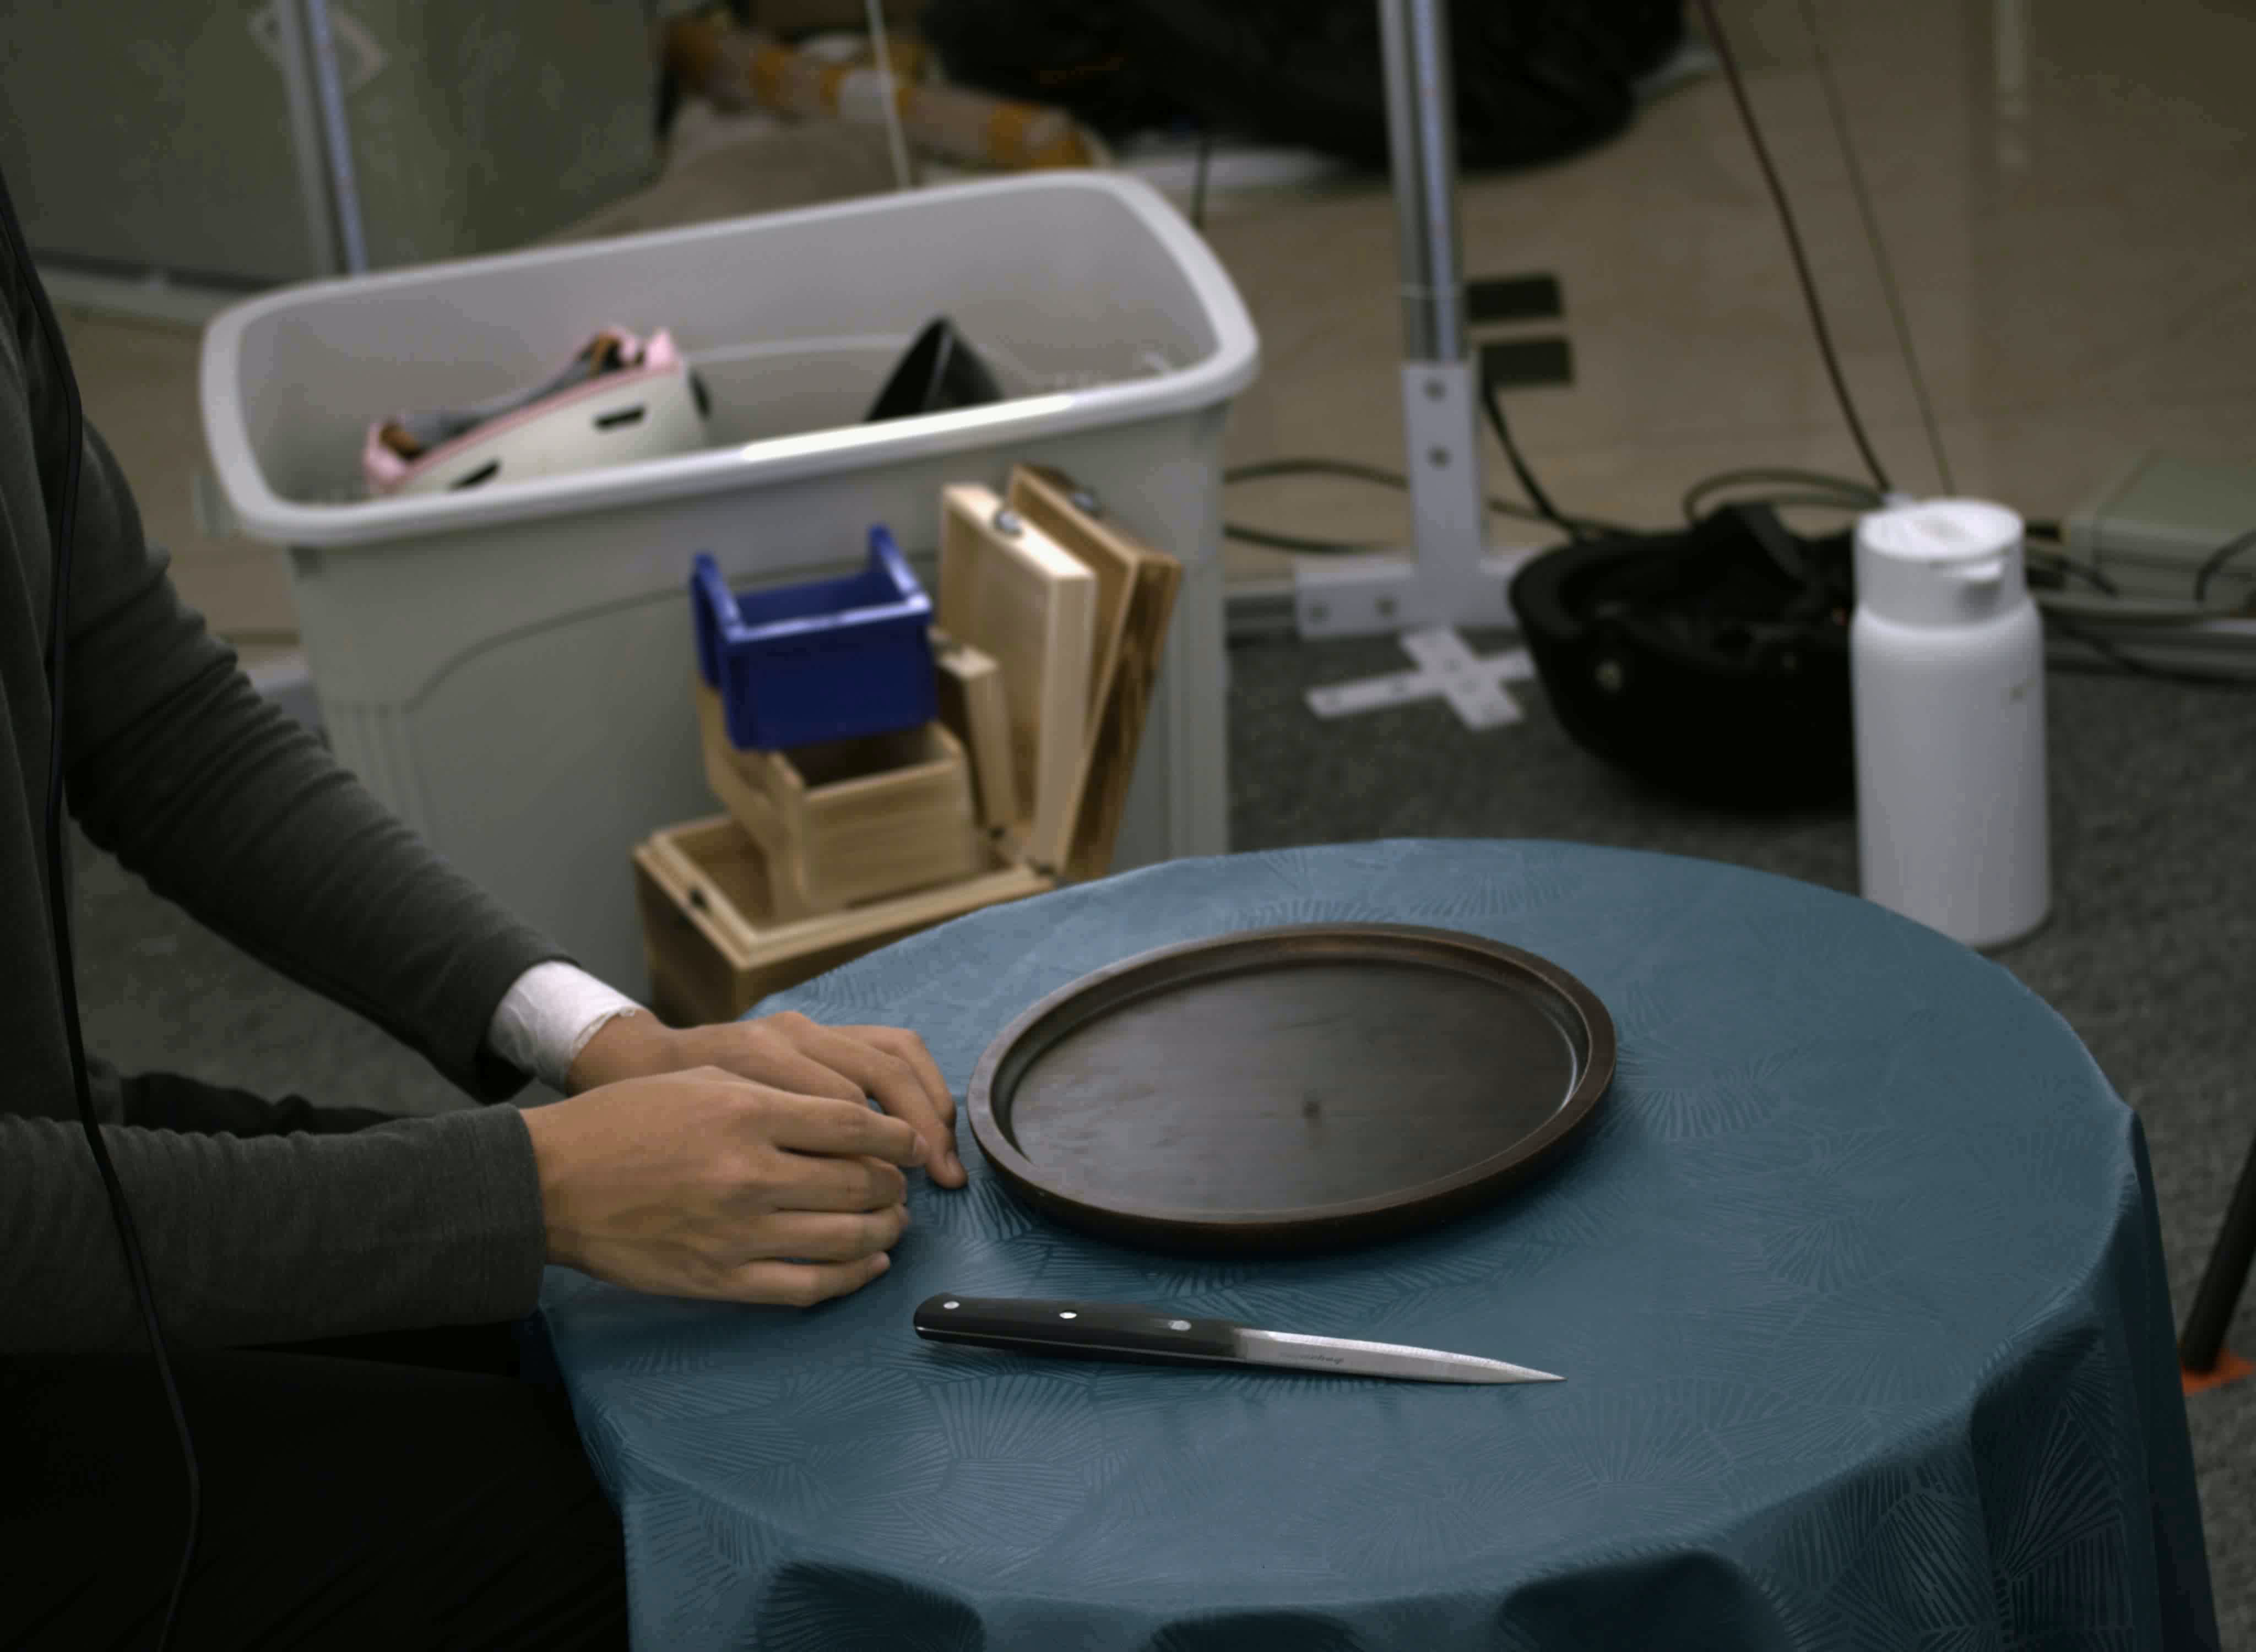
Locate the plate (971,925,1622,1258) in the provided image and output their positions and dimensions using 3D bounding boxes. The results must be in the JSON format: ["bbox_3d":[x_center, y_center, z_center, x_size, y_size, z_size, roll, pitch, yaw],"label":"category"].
[{"bbox_3d":[0.065,0.101,2.191,0.254,0.029,0.251,-4,24,2],"label":"plate"}]

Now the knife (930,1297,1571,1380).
[{"bbox_3d":[0.041,0.186,2.026,0.237,0.016,0.024,4,24,15],"label":"knife"}]
